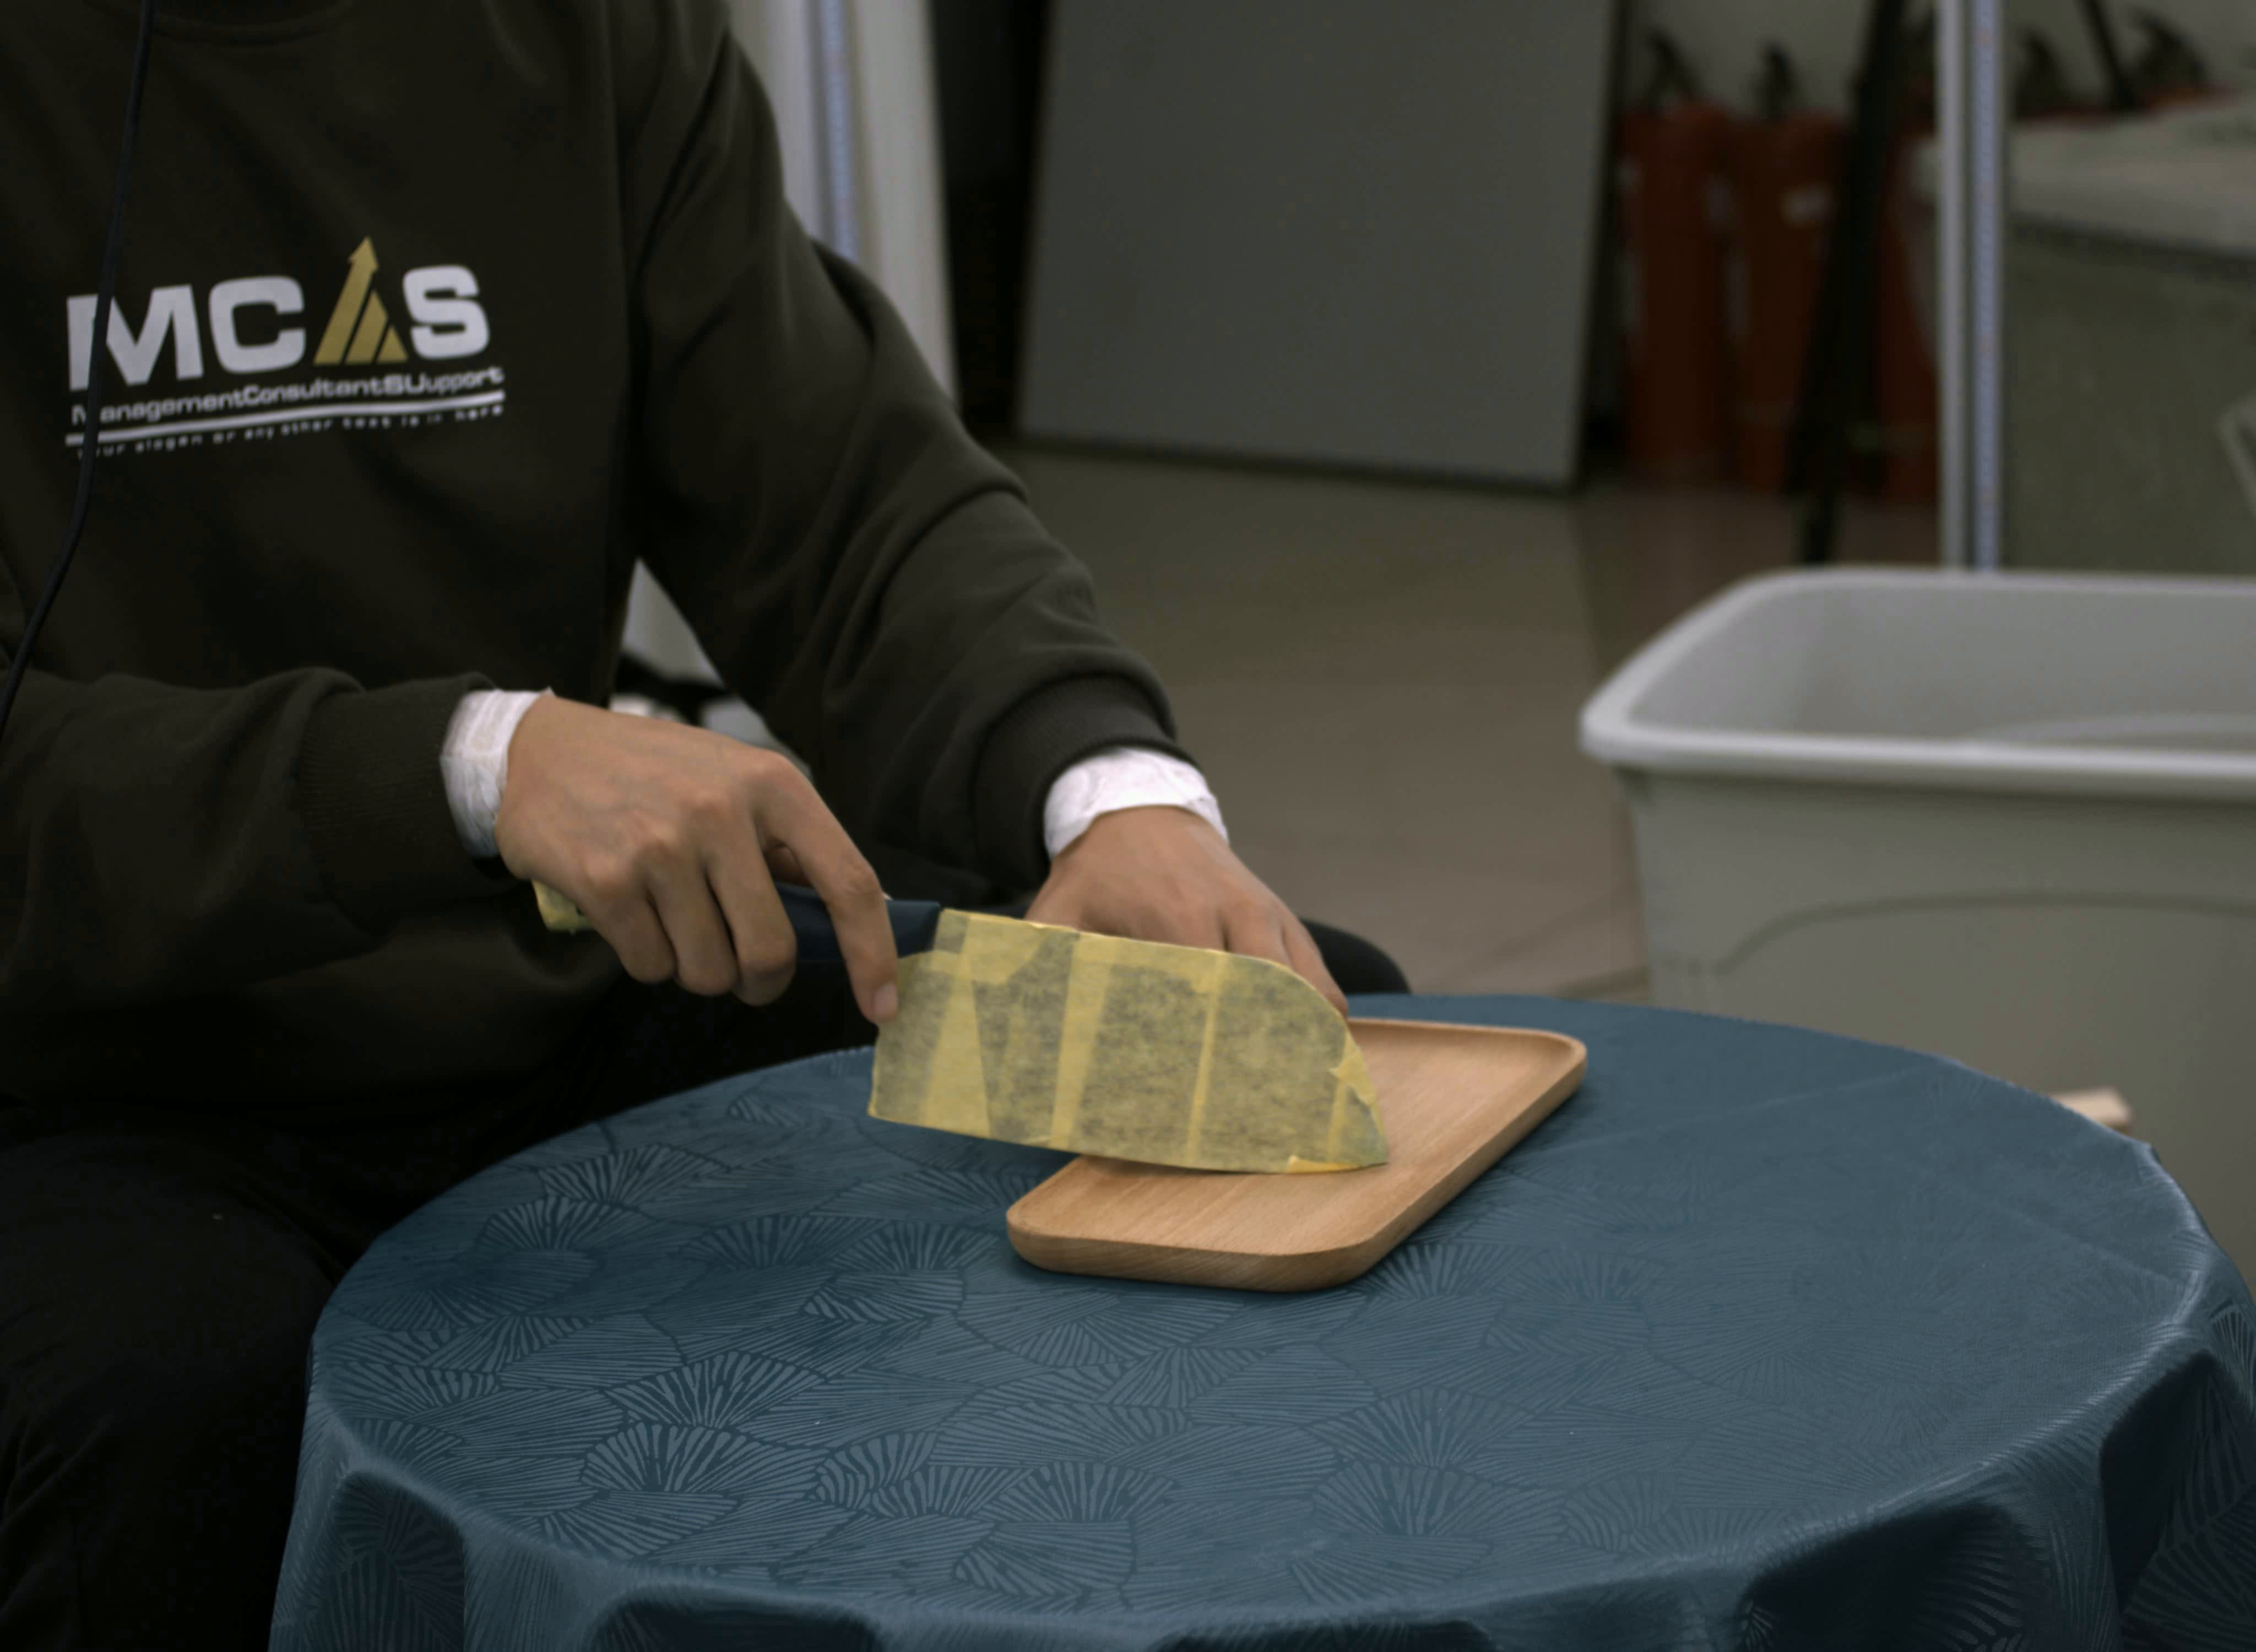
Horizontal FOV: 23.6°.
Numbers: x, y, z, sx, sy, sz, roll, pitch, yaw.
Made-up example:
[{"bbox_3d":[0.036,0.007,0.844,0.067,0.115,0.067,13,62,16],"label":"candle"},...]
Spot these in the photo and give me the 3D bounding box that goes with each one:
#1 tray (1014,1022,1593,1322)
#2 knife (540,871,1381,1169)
[{"bbox_3d":[0.062,0.112,1.780,0.131,0.023,0.248,-1,17,26],"label":"tray"},{"bbox_3d":[-0.056,0.063,1.768,0.287,0.082,0.027,12,-3,7],"label":"knife"}]
